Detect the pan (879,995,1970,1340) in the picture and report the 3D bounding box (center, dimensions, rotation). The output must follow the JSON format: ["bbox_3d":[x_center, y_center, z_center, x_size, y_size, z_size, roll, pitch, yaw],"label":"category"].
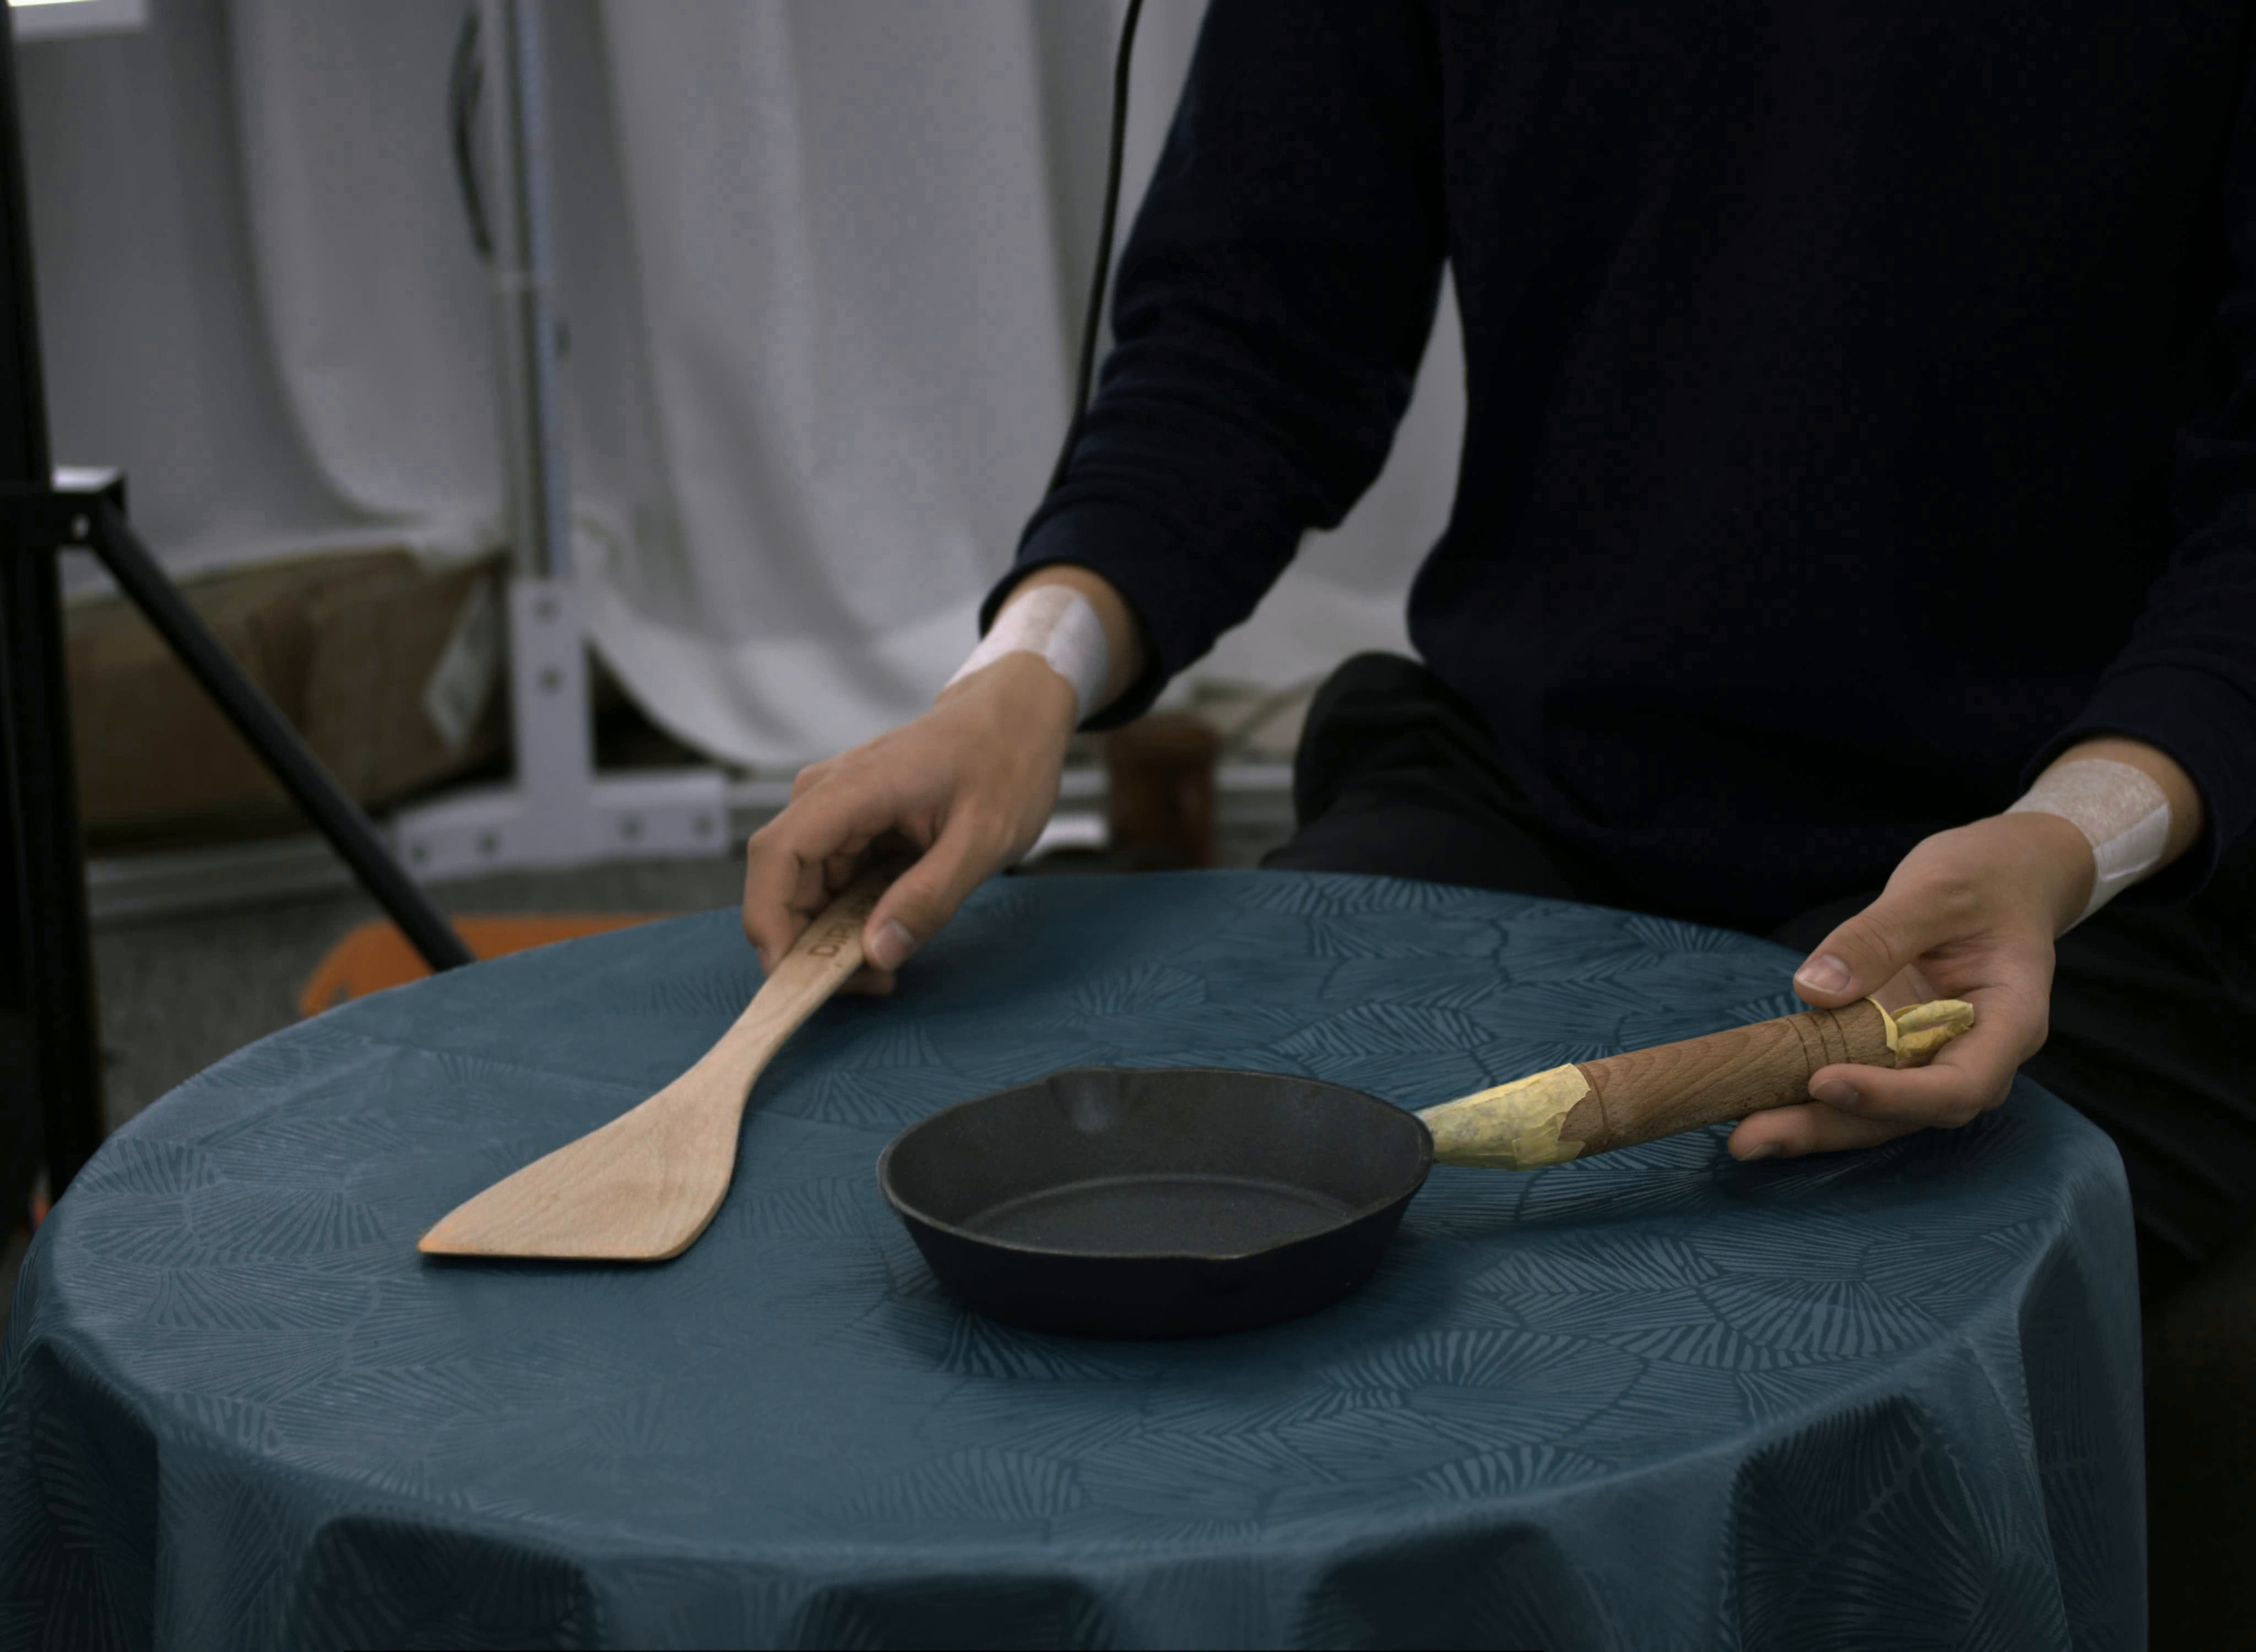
[{"bbox_3d":[0.090,0.092,1.508,0.320,0.049,0.171,-7,16,-10],"label":"pan"}]

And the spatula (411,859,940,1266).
[{"bbox_3d":[-0.121,0.070,1.657,0.081,0.016,0.325,4,23,18],"label":"spatula"}]
